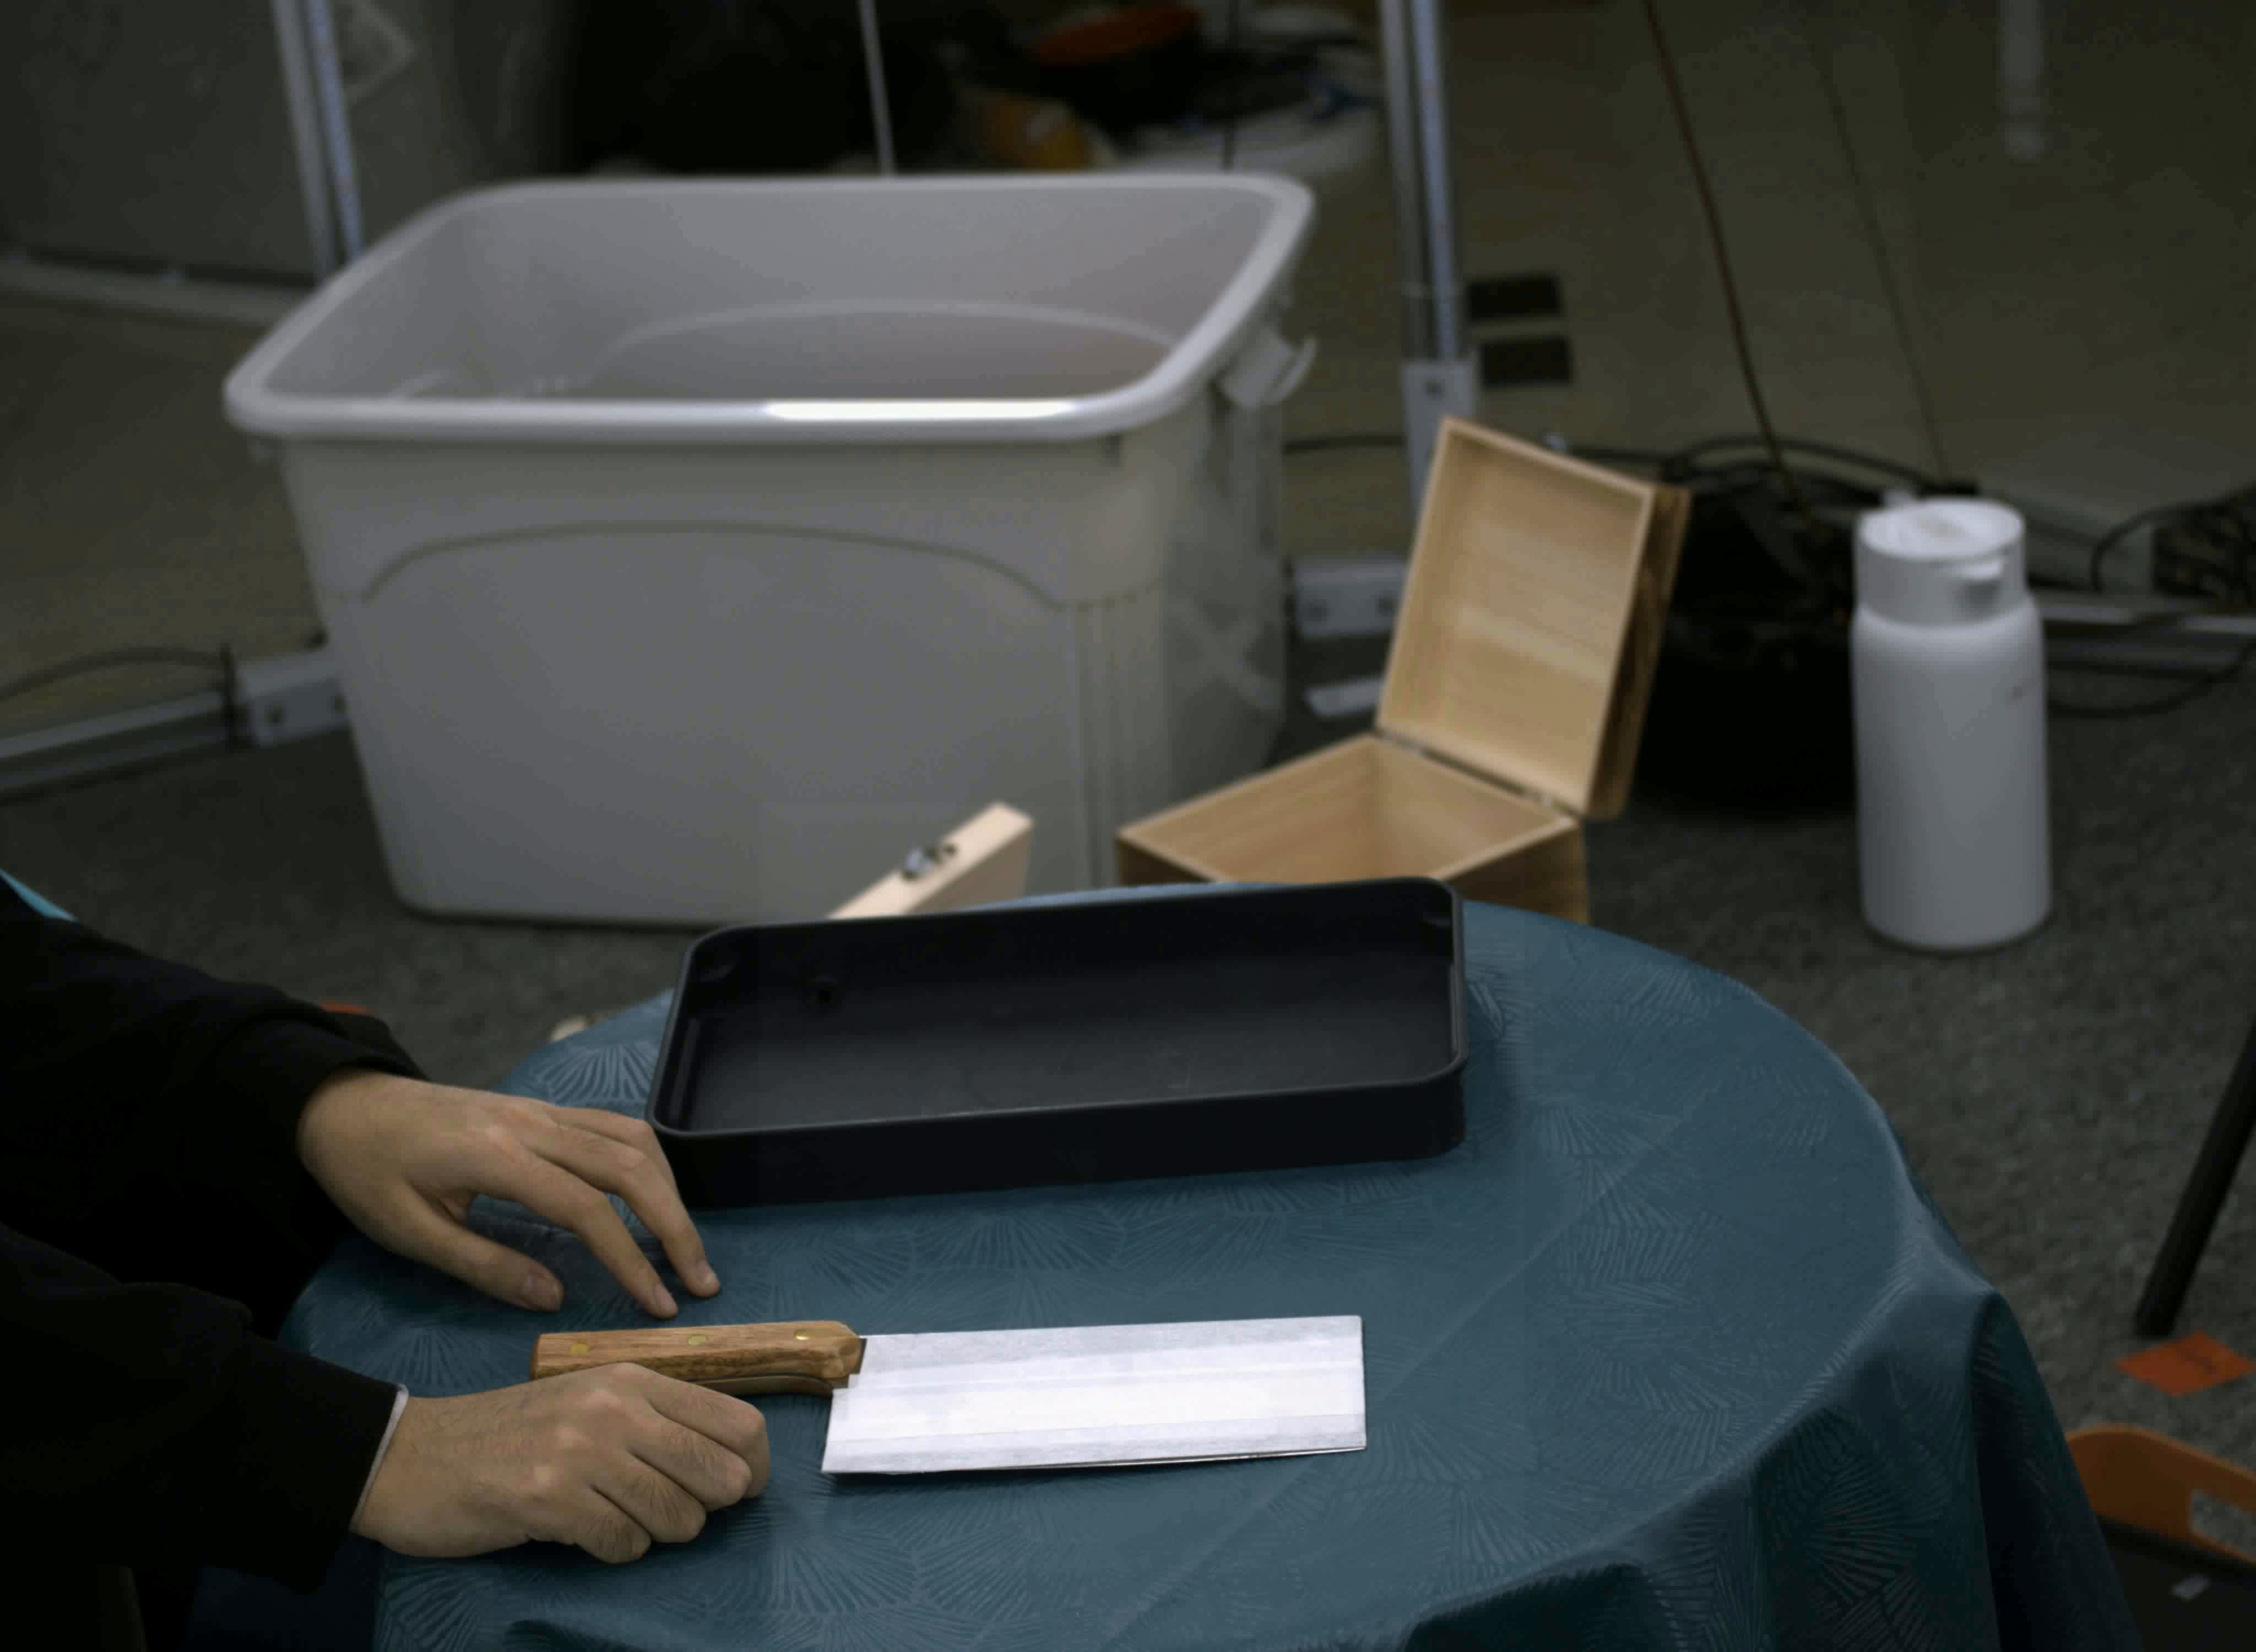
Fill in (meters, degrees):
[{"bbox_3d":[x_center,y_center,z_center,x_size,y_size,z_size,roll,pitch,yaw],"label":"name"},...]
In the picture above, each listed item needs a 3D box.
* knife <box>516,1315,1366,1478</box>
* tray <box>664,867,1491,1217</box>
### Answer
[{"bbox_3d":[-0.068,0.202,2.010,0.305,0.021,0.091,-3,27,3],"label":"knife"},{"bbox_3d":[-0.018,0.083,2.228,0.317,0.037,0.181,-5,25,3],"label":"tray"}]
